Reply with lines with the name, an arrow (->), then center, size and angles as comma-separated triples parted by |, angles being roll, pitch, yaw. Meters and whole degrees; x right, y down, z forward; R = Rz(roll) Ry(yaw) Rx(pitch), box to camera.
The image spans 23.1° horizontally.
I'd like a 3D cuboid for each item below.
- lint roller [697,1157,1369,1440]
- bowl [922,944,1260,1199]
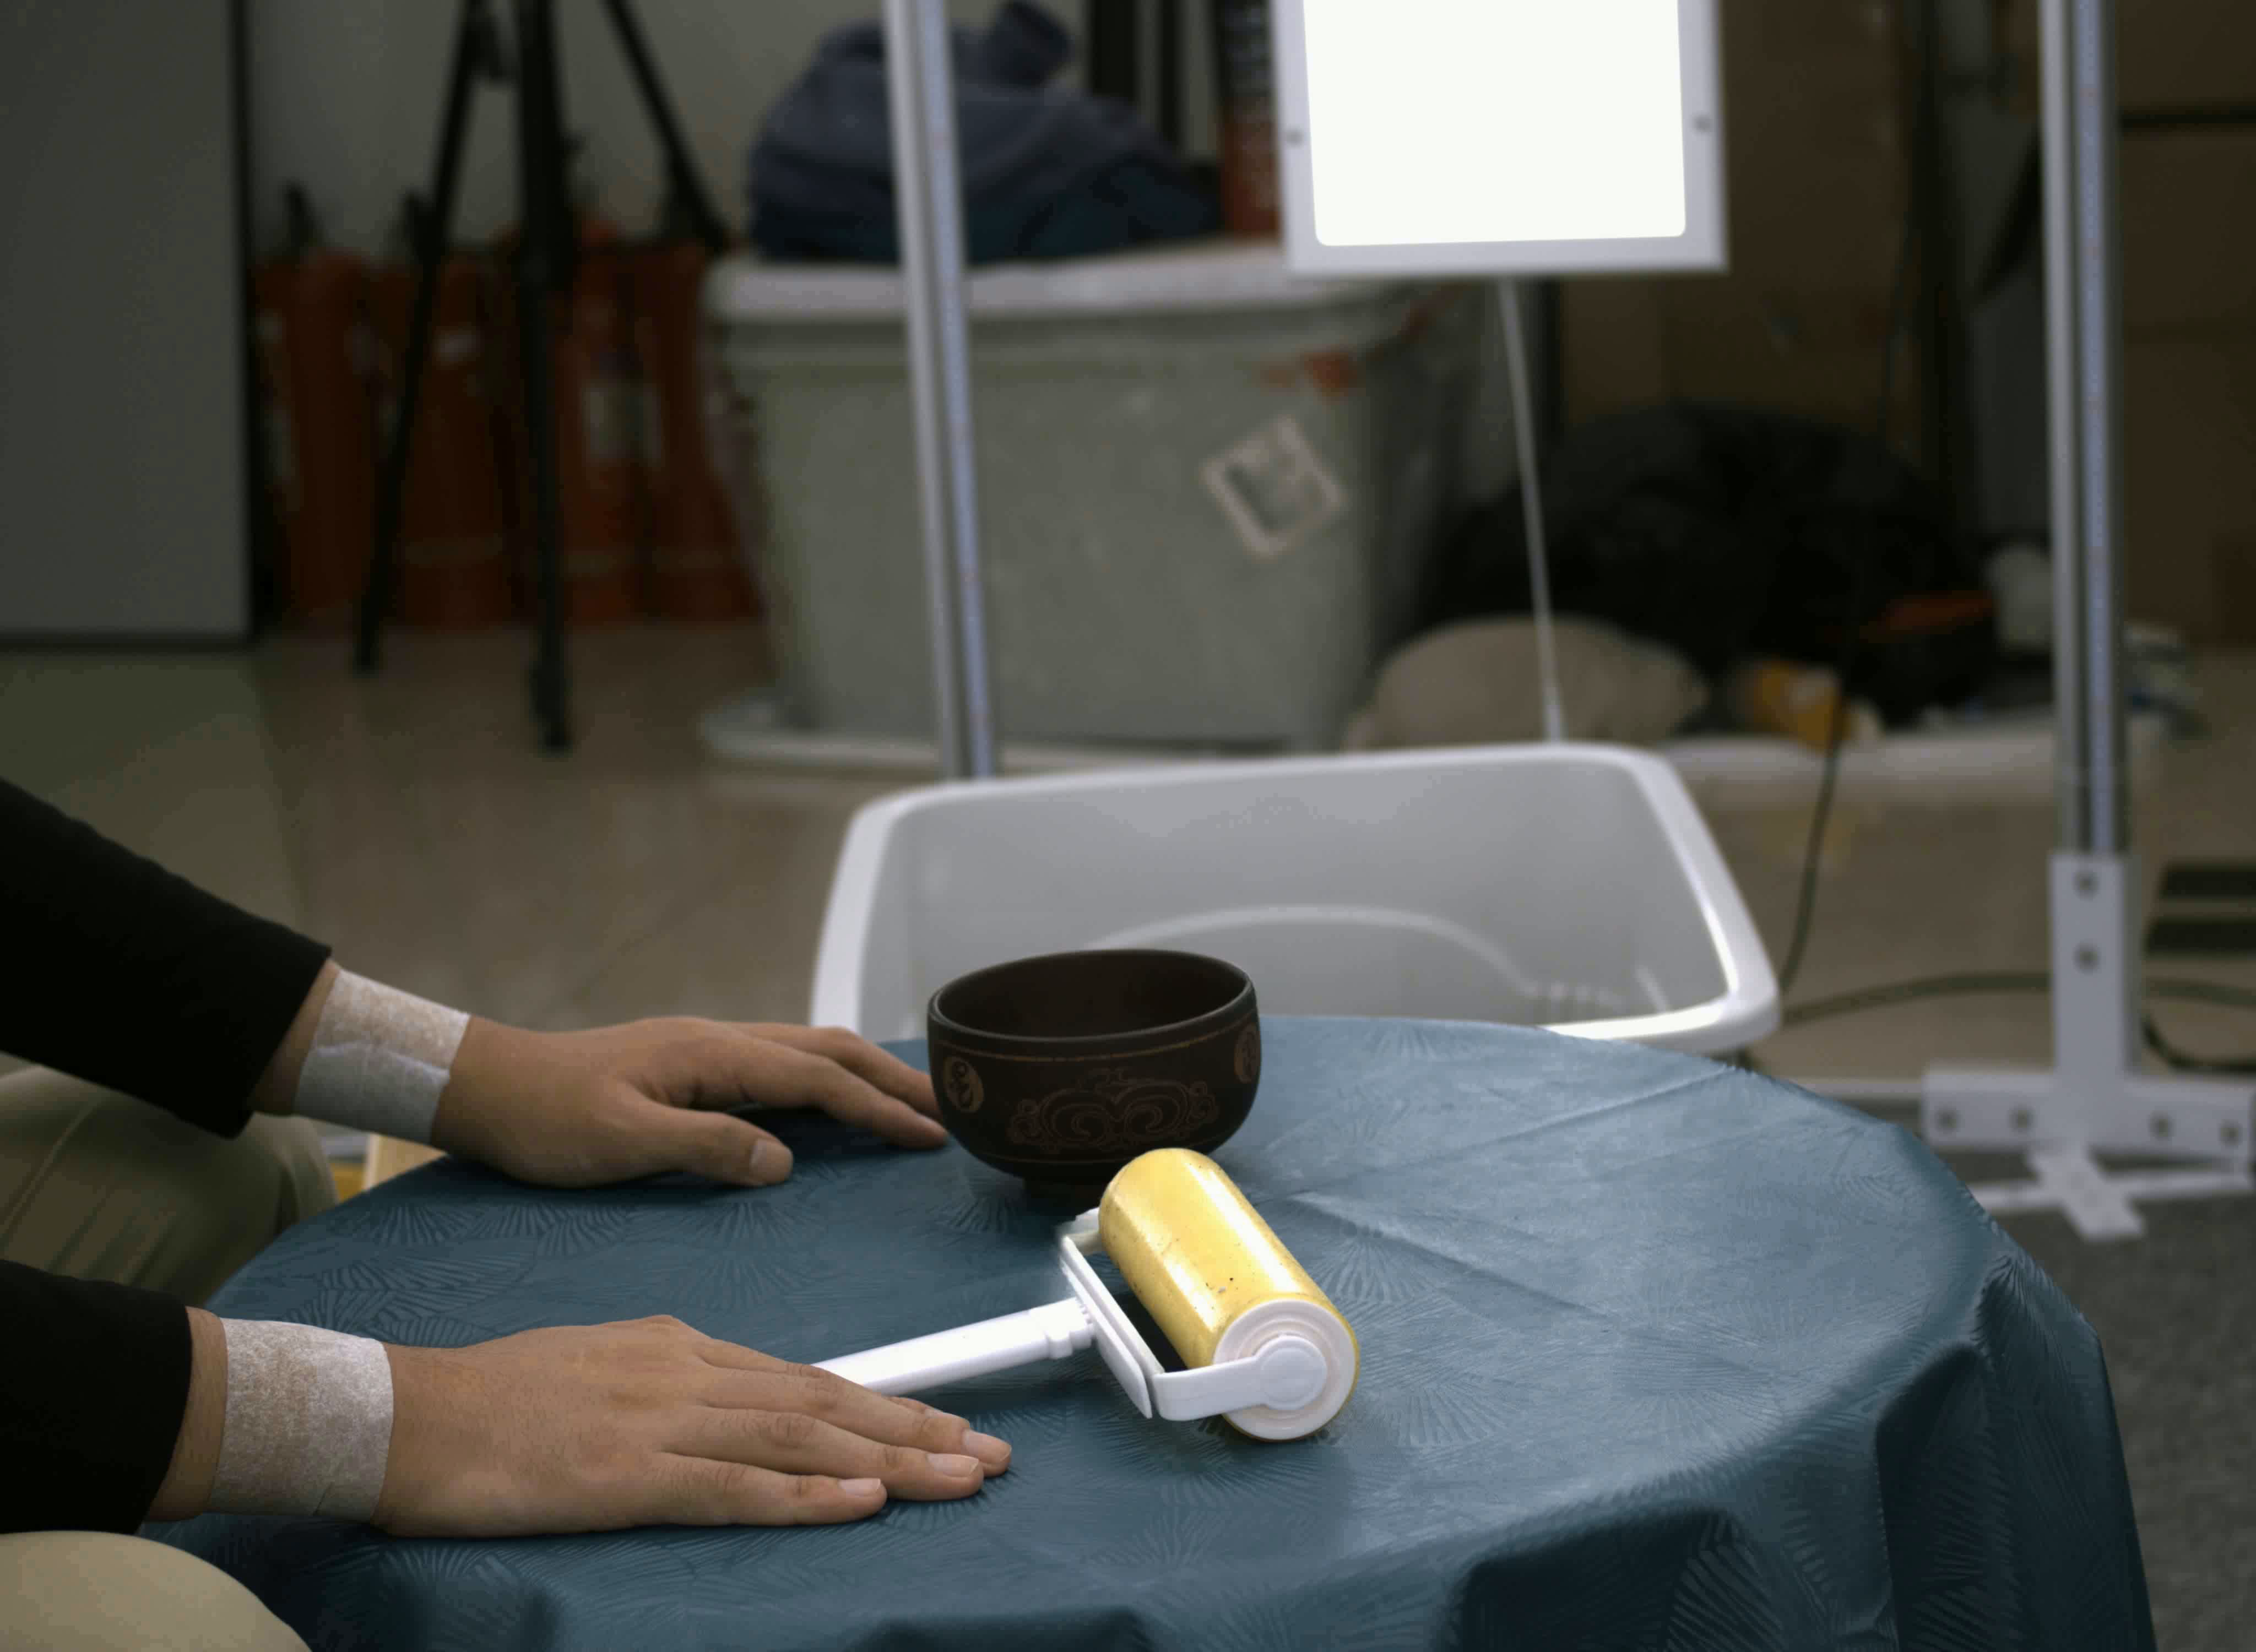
lint roller -> -0.039, 0.152, 1.702 | 0.189, 0.051, 0.175 | -3, 12, -12
bowl -> -0.012, 0.088, 1.903 | 0.118, 0.070, 0.118 | -4, 13, 0
